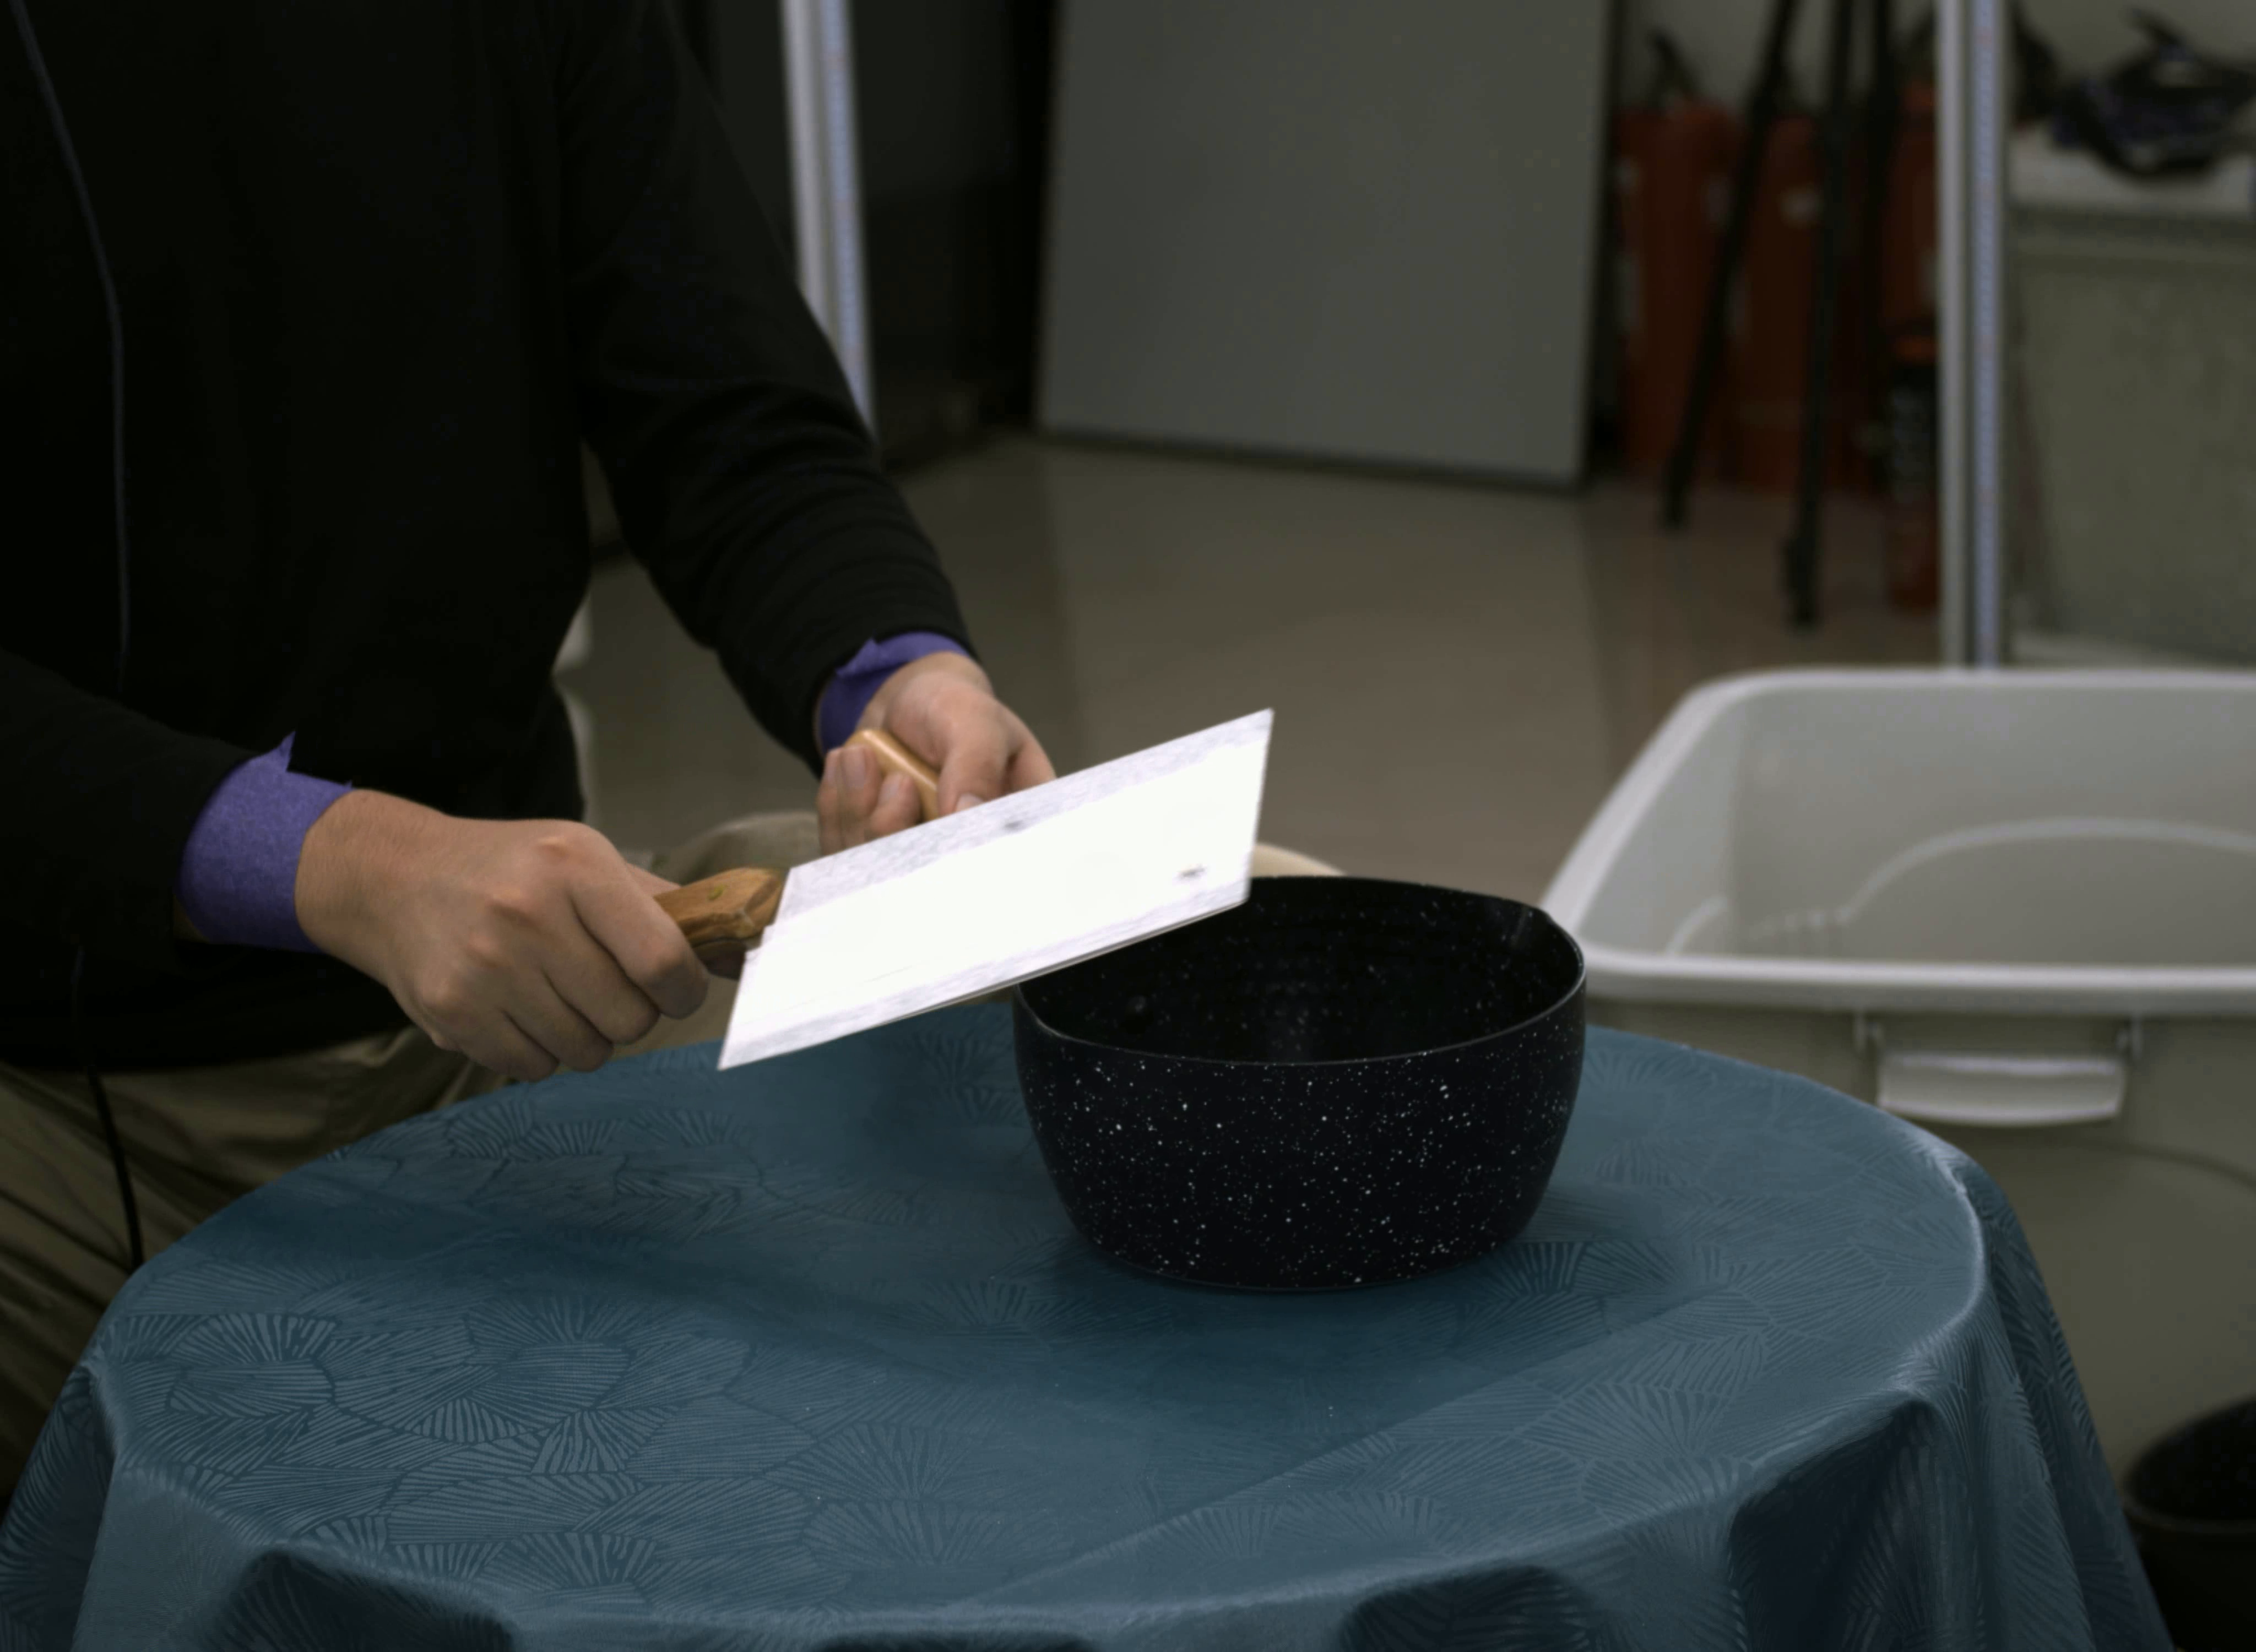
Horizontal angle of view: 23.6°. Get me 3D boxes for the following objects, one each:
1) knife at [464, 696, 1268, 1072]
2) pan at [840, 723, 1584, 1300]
[{"bbox_3d":[-0.089,0.034,1.712,0.306,0.021,0.093,-20,37,24],"label":"knife"},{"bbox_3d":[0.006,0.055,1.778,0.203,0.109,0.346,-15,22,-34],"label":"pan"}]
